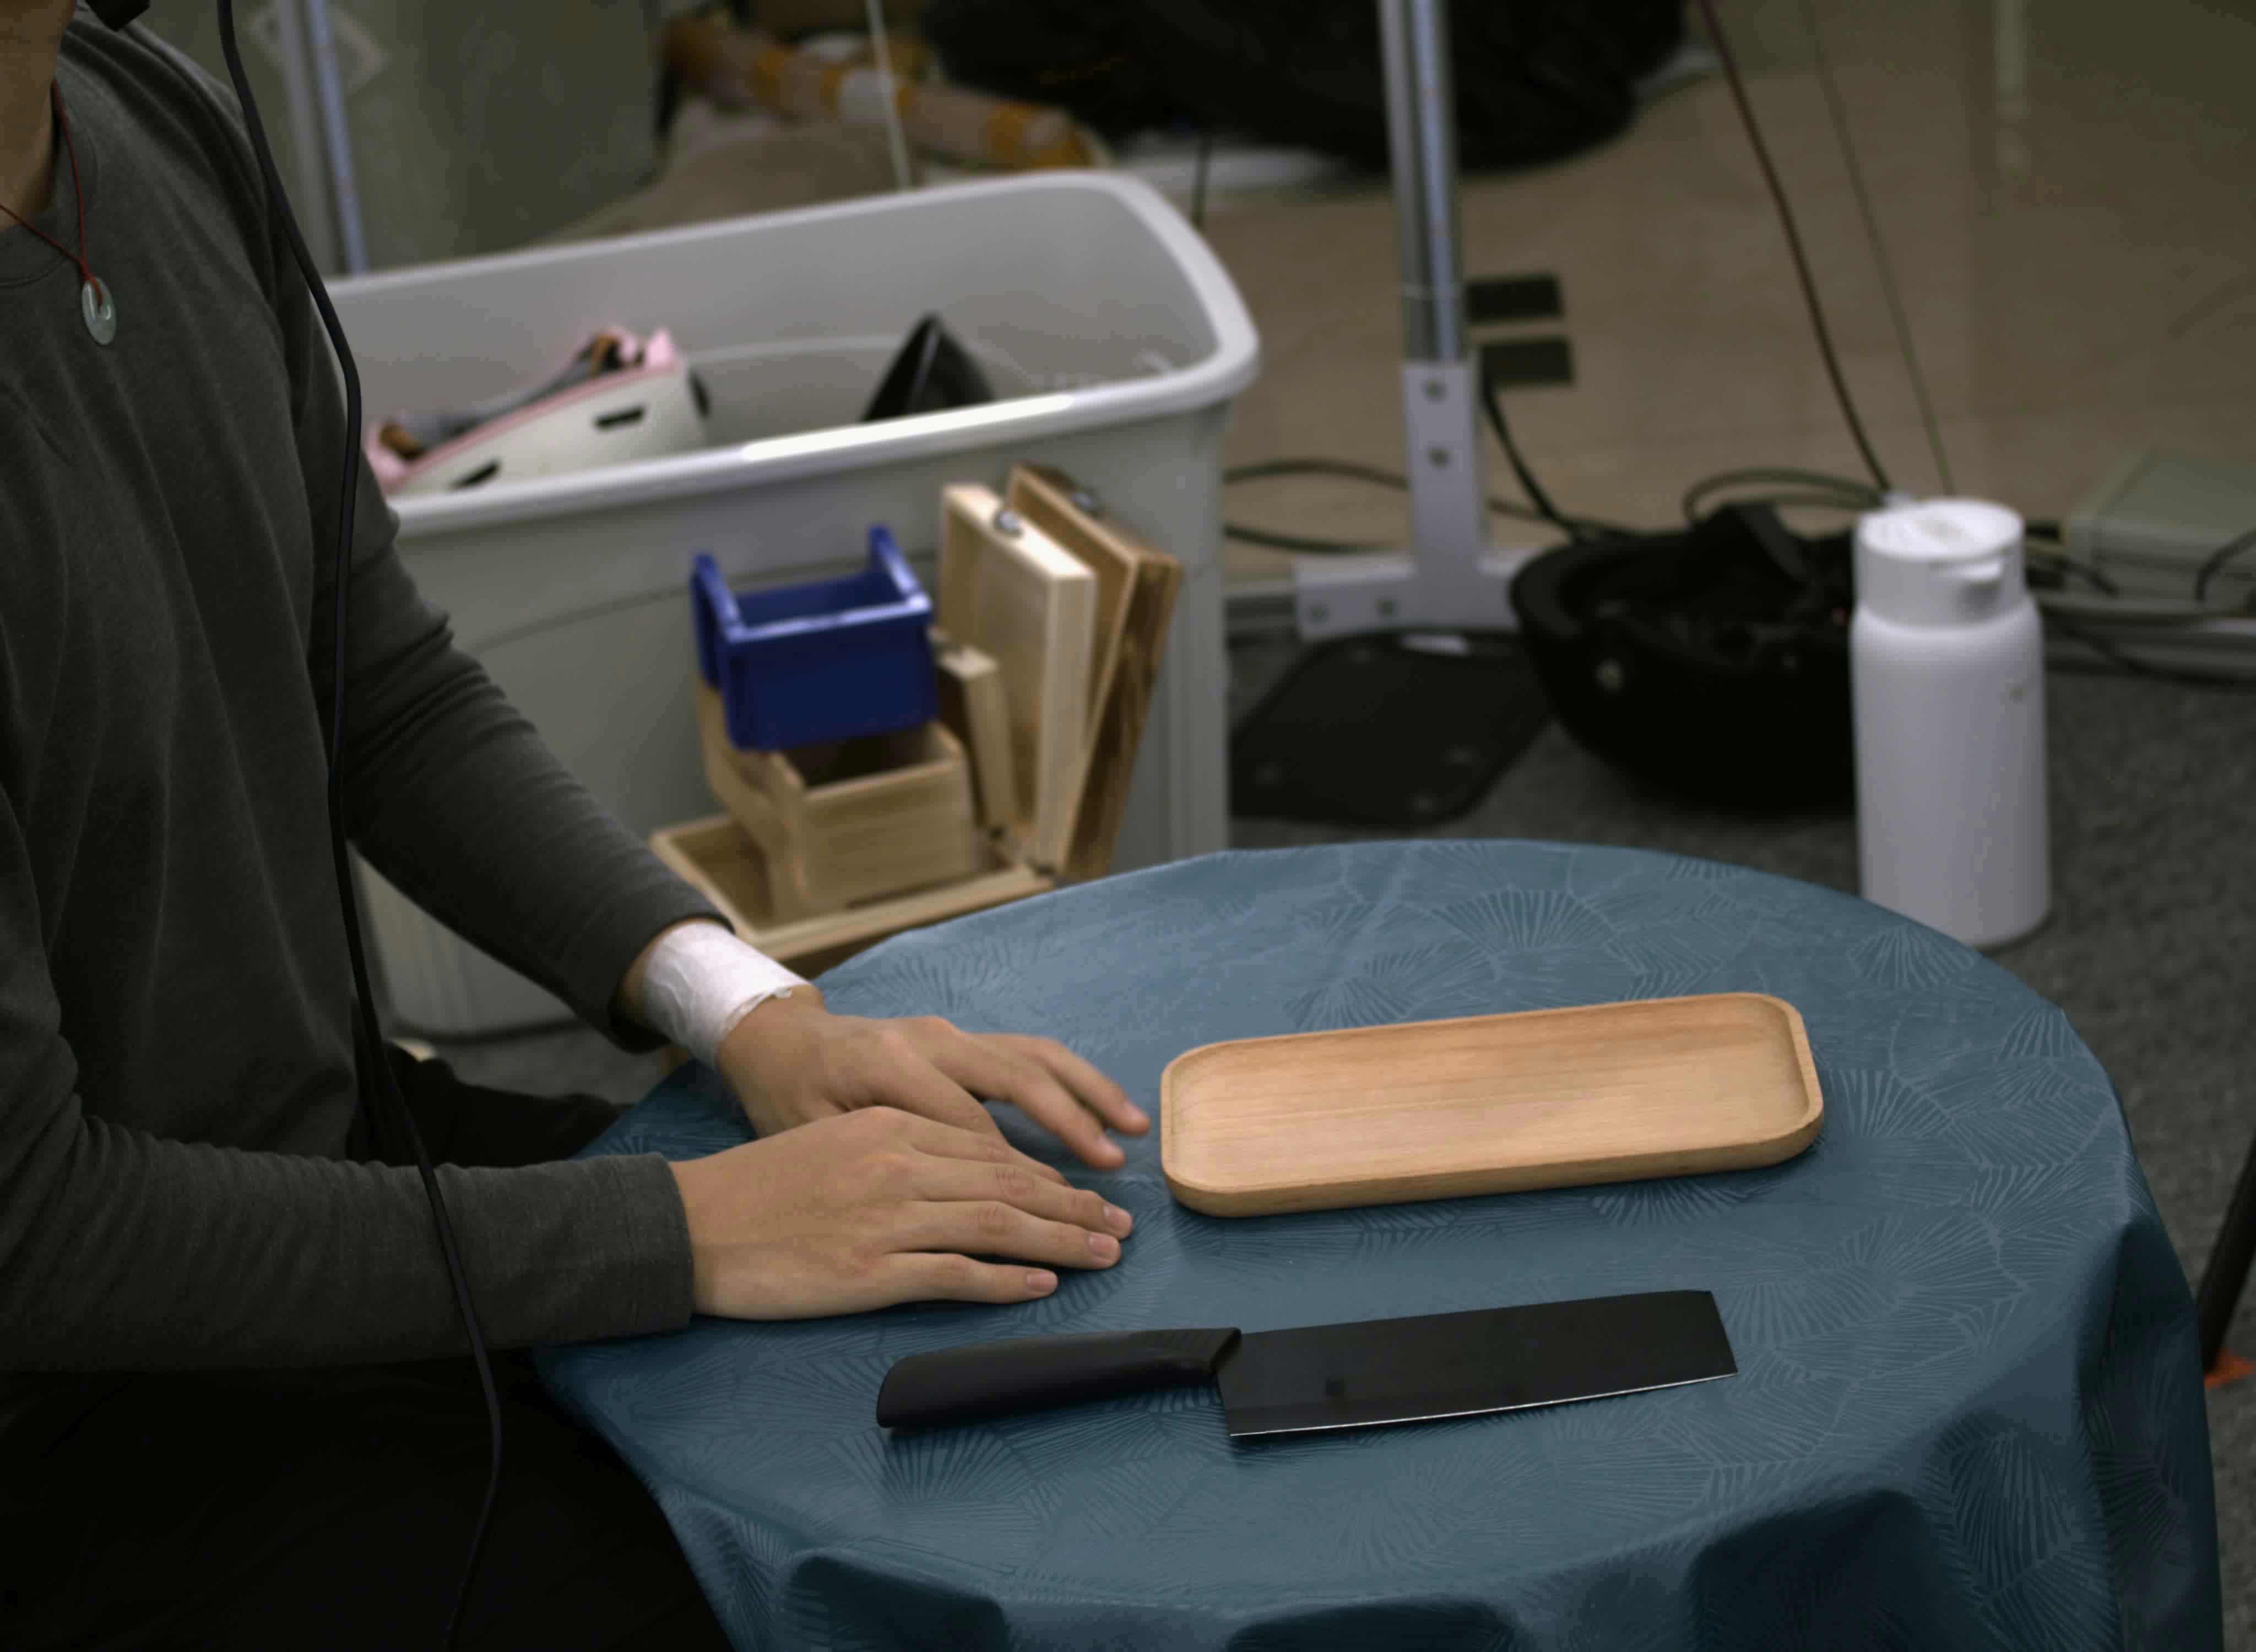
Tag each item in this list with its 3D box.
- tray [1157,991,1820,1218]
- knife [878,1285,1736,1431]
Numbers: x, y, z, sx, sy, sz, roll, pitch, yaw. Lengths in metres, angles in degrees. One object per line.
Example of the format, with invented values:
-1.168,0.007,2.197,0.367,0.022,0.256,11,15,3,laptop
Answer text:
0.136,0.107,2.169,0.250,0.023,0.129,-6,22,4,tray
0.062,0.192,2.006,0.302,0.021,0.080,-4,26,1,knife
